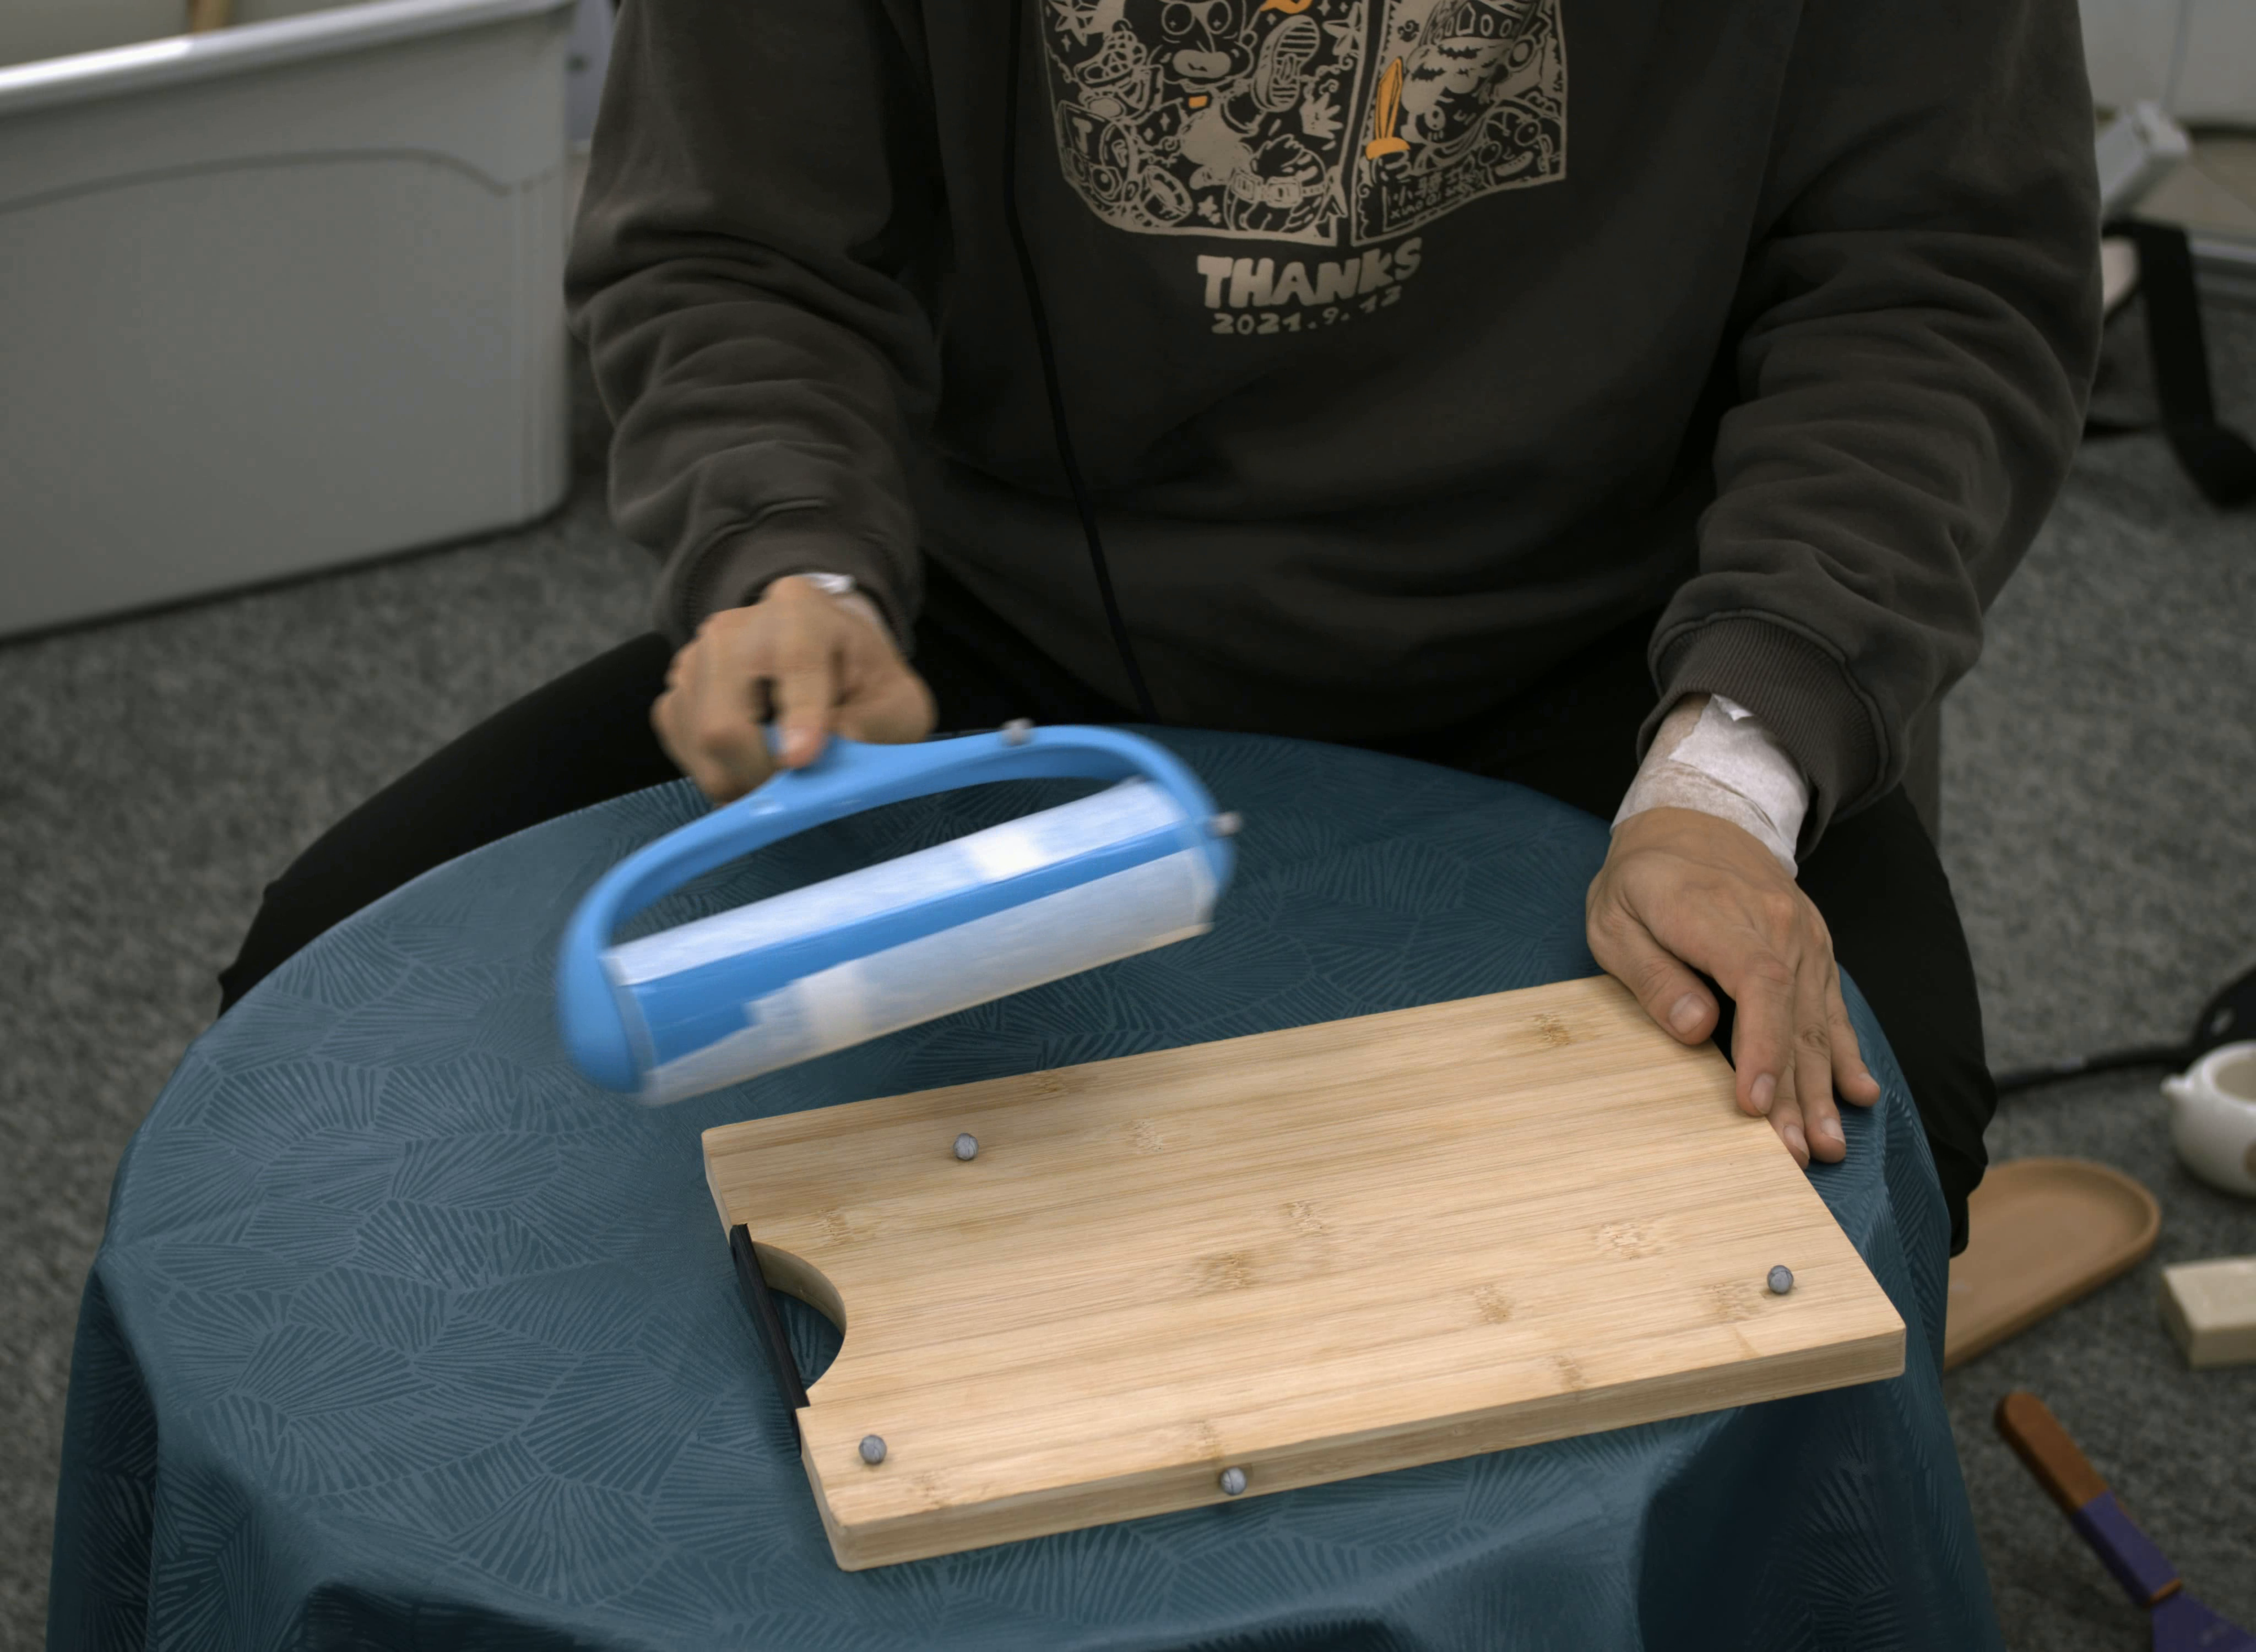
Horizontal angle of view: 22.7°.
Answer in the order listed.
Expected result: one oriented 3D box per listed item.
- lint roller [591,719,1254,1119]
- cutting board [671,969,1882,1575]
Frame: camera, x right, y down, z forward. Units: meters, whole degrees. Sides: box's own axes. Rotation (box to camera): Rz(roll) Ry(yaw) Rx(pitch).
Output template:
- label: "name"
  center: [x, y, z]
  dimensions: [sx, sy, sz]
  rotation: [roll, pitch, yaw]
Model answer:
- label: "lint roller"
  center: [-0.091, 0.005, 1.860]
  dimensions: [0.230, 0.067, 0.182]
  rotation: [-21, 43, -19]
- label: "cutting board"
  center: [0.043, 0.138, 1.808]
  dimensions: [0.348, 0.023, 0.253]
  rotation: [-9, 28, -12]
